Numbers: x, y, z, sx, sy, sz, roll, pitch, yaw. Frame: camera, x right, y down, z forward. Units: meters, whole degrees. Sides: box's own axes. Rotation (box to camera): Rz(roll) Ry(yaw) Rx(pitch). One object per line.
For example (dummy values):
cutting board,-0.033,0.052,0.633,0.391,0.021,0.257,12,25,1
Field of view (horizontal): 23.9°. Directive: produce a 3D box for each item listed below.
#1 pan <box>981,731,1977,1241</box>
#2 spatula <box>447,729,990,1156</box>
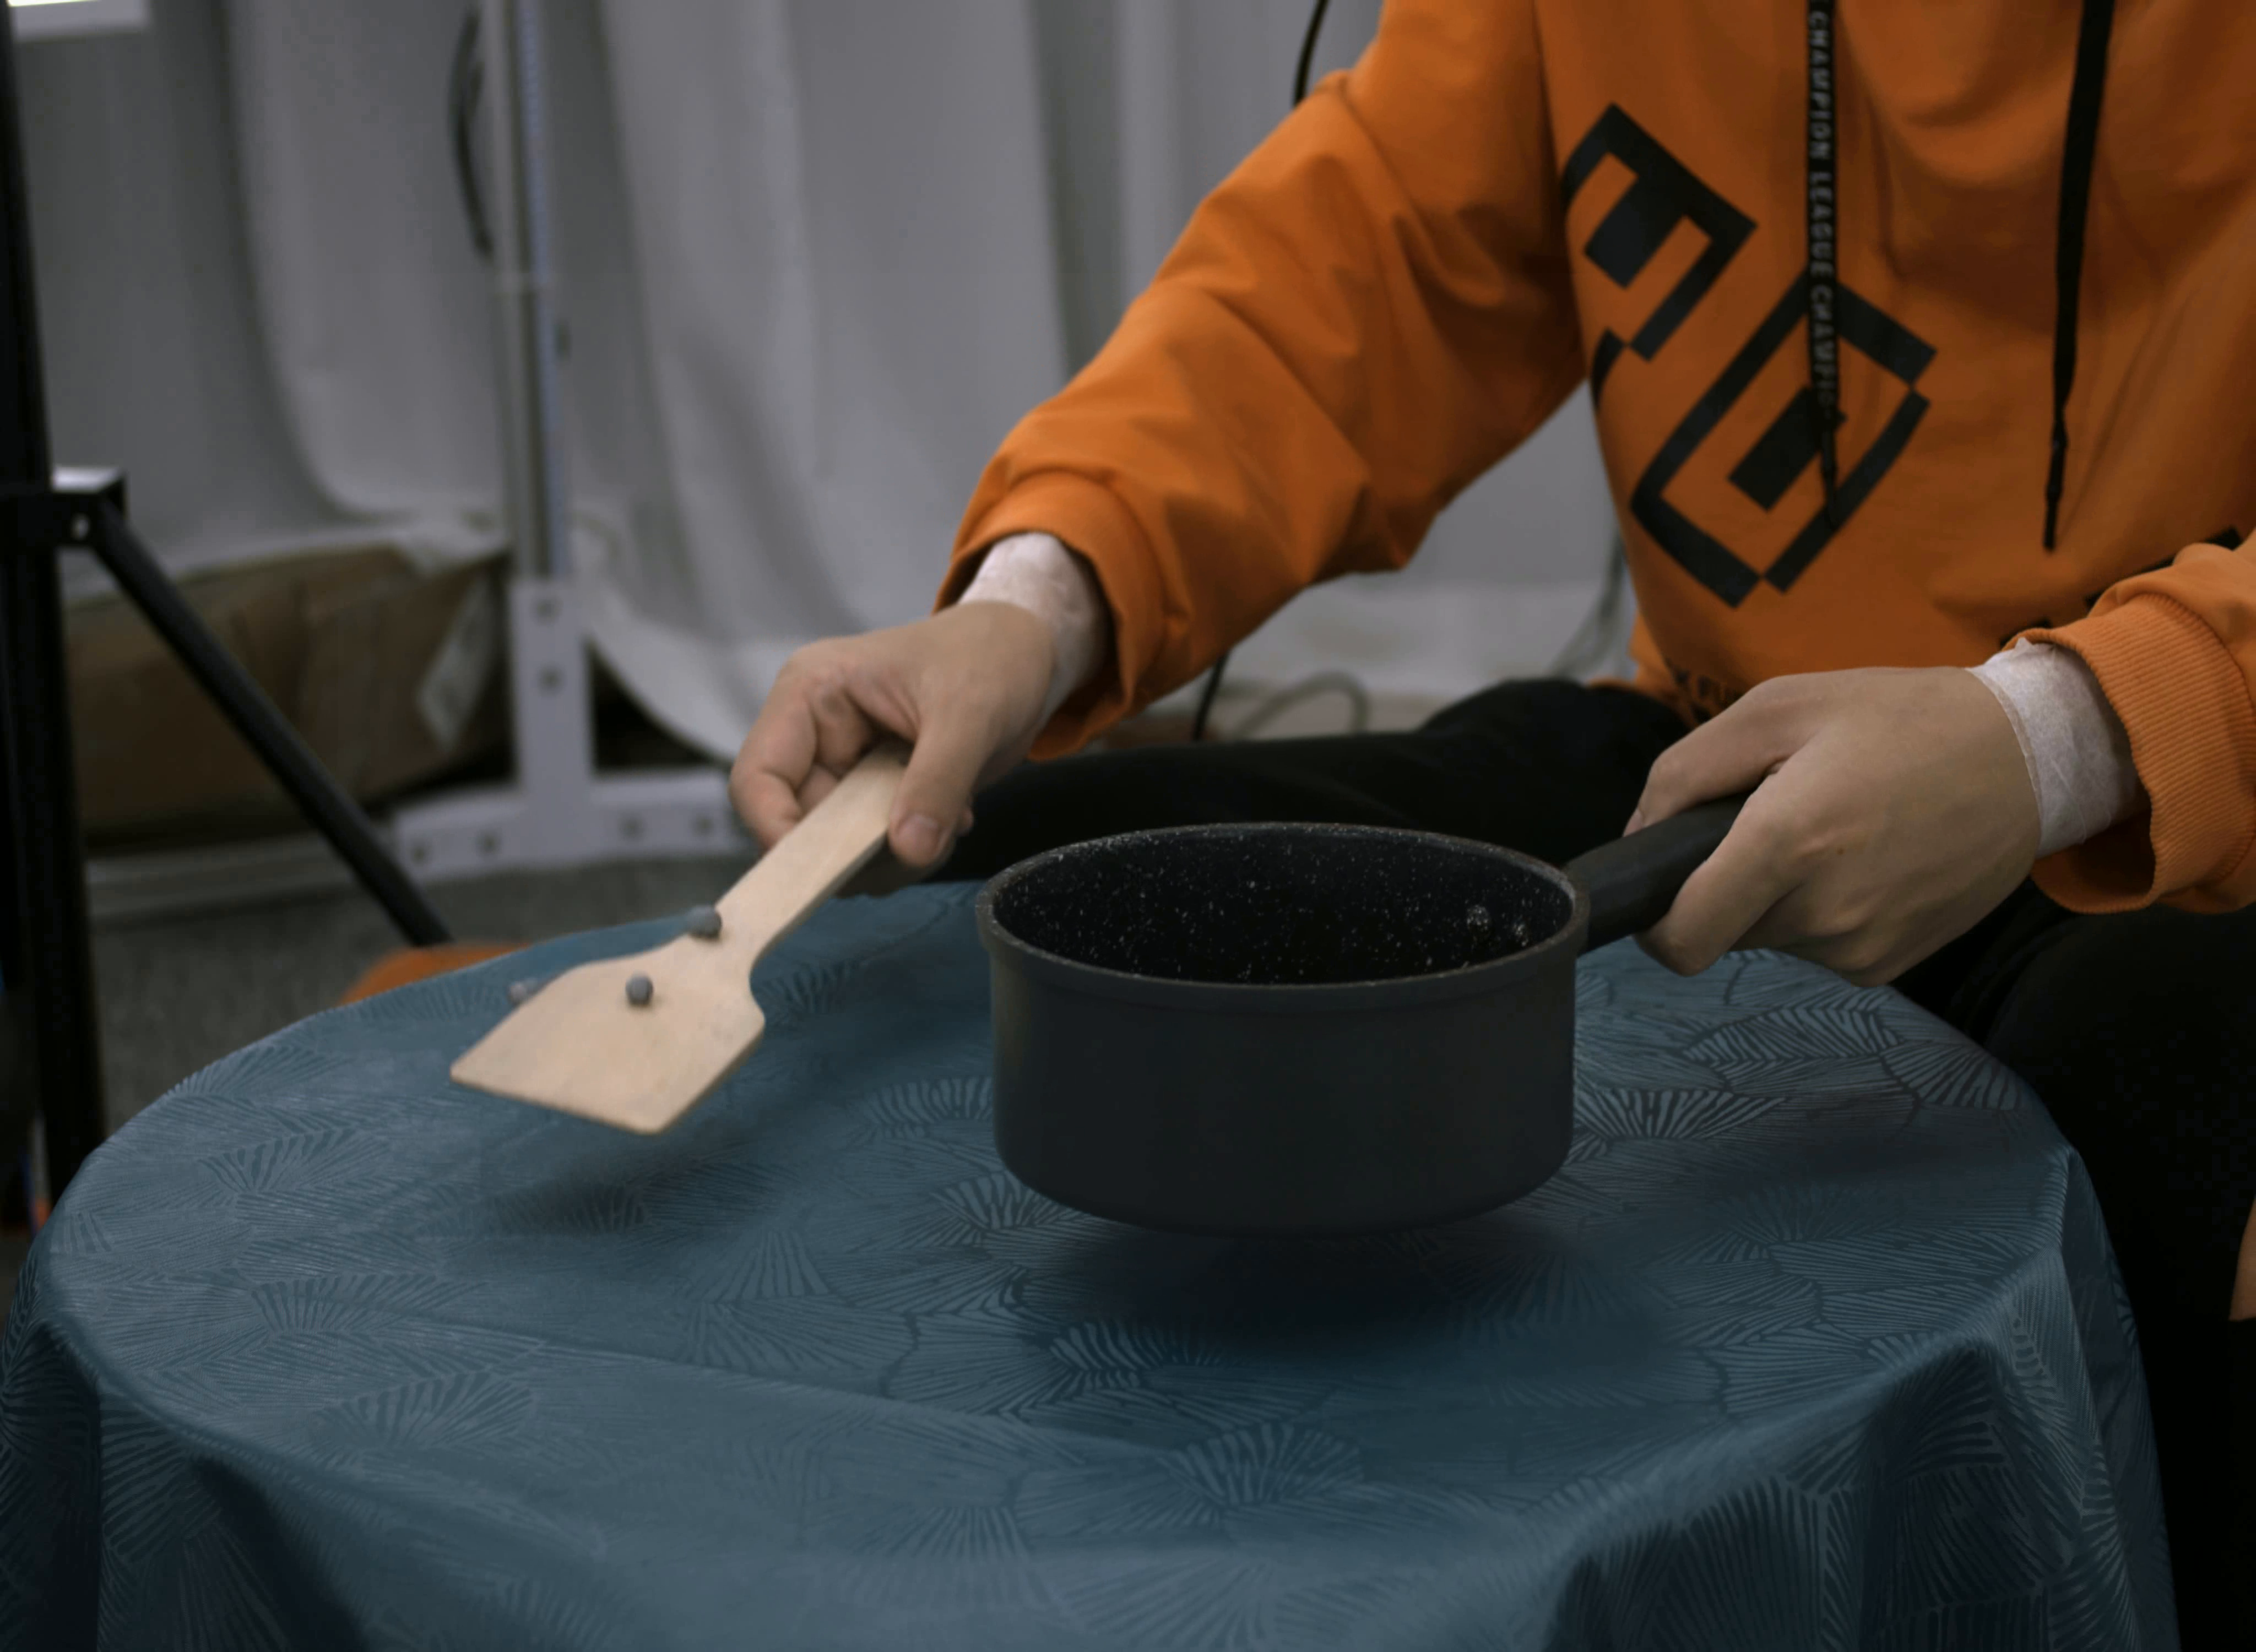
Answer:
pan,0.110,0.041,1.517,0.321,0.086,0.176,-11,19,-30
spatula,-0.115,0.031,1.673,0.073,0.010,0.290,7,28,23
